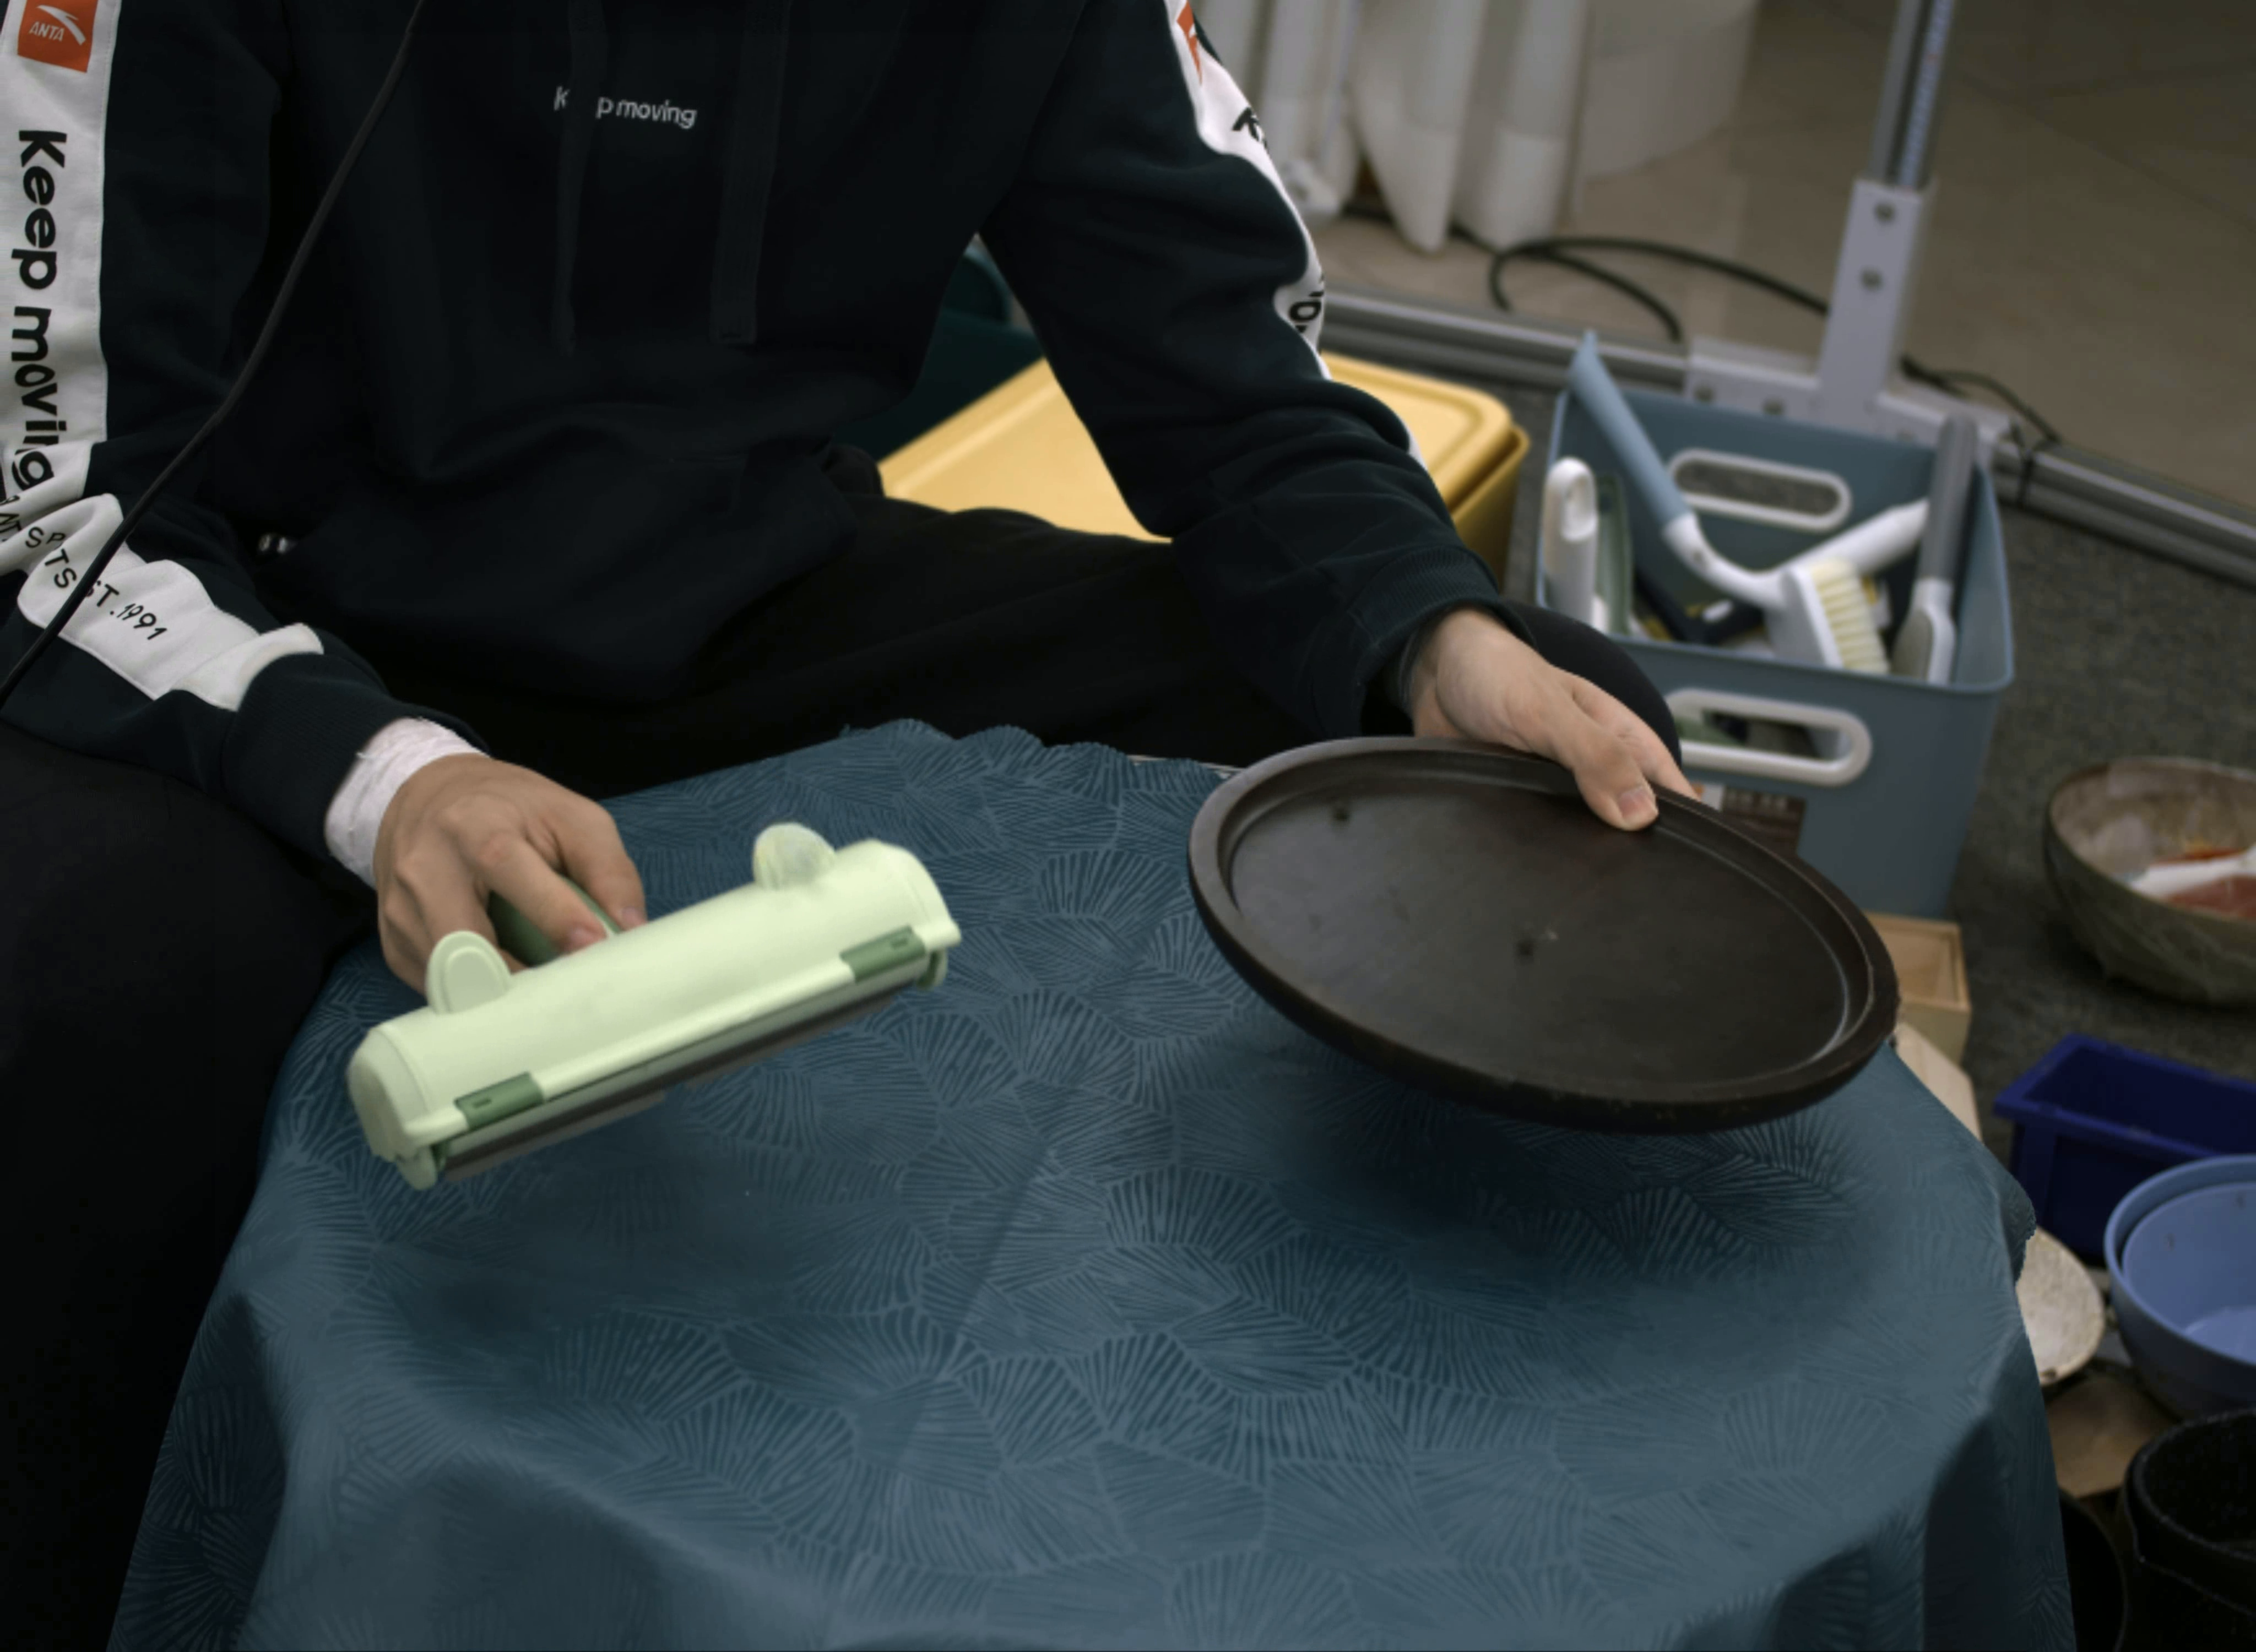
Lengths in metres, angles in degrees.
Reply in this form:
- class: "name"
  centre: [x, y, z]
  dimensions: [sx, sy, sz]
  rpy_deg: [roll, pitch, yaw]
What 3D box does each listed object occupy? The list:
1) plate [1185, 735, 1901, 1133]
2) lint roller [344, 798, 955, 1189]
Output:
- class: "plate"
  centre: [0.142, 0.036, 1.843]
  dimensions: [0.254, 0.029, 0.256]
  rpy_deg: [9, 27, -5]
- class: "lint roller"
  centre: [-0.180, 0.028, 1.733]
  dimensions: [0.198, 0.082, 0.185]
  rpy_deg: [-22, 35, -22]
